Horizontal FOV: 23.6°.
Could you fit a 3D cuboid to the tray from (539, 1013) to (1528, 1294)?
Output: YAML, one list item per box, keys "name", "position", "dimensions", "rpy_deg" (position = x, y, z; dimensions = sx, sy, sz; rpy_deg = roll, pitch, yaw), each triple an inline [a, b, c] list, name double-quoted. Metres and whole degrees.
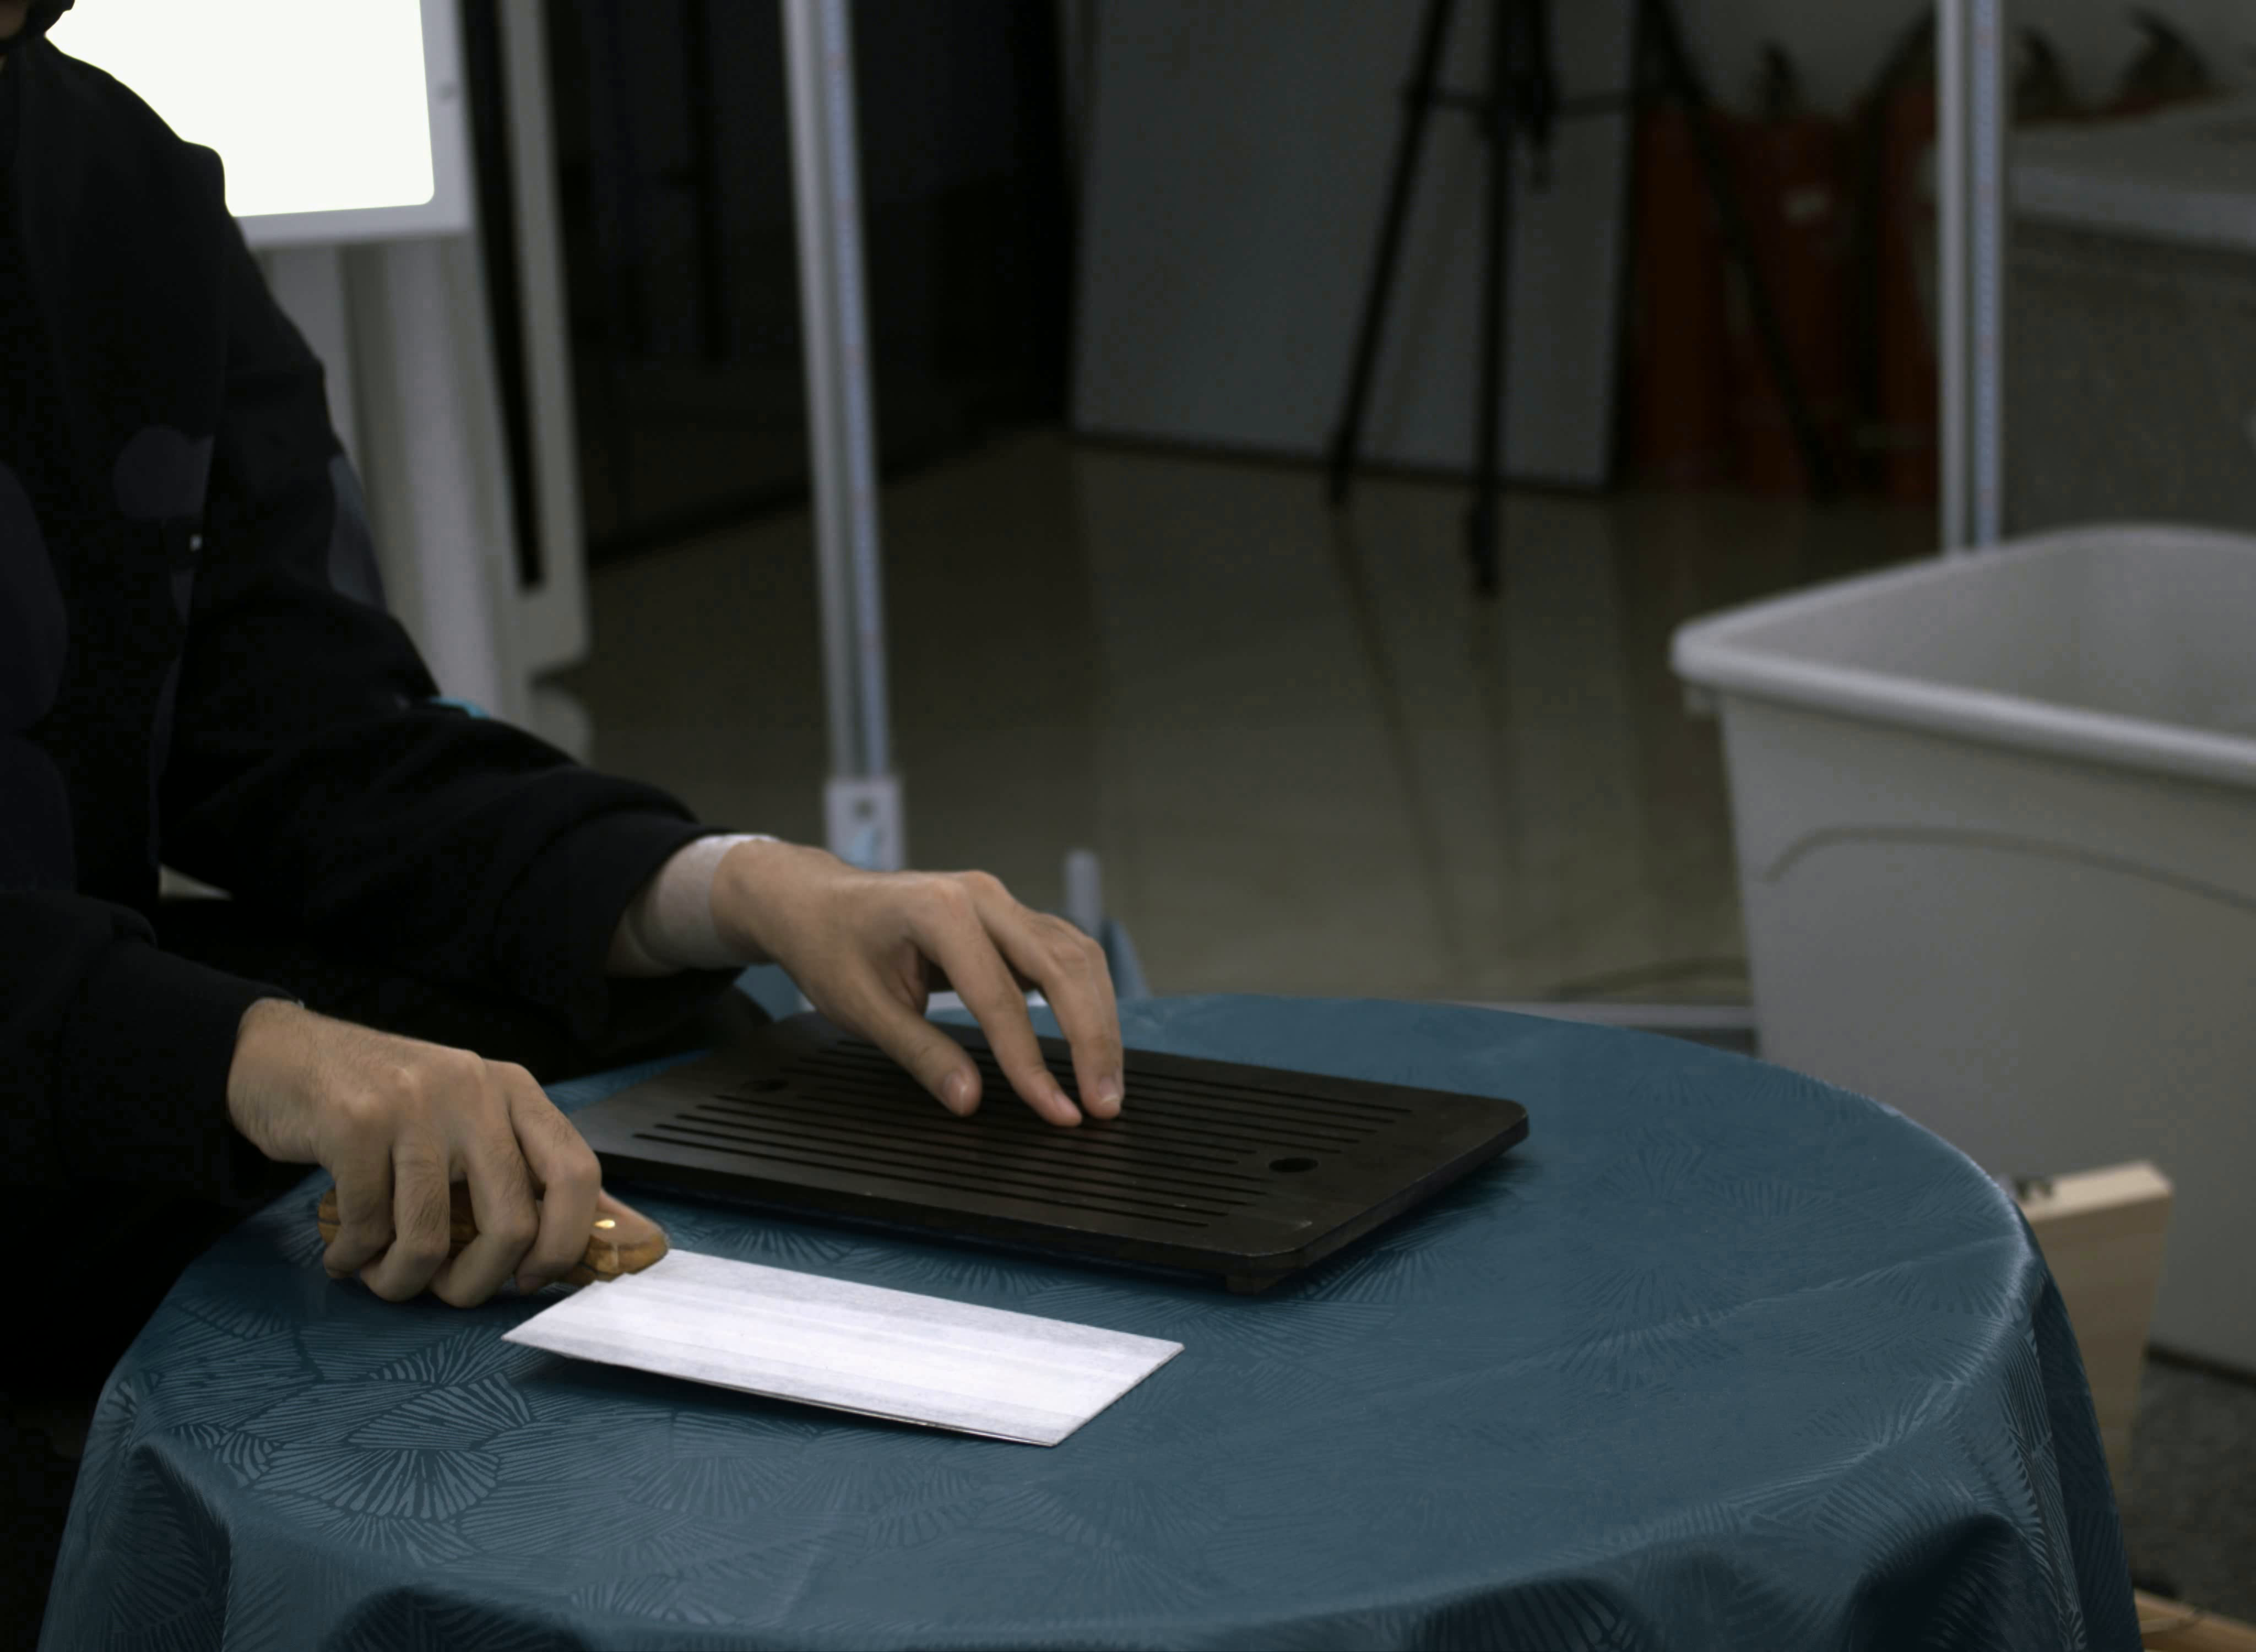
- name: "tray"
  position: [-0.033, 0.107, 1.801]
  dimensions: [0.308, 0.019, 0.167]
  rpy_deg: [6, 17, 35]

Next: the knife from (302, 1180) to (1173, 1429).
- name: "knife"
  position: [-0.135, 0.149, 1.651]
  dimensions: [0.306, 0.021, 0.091]
  rpy_deg: [8, 18, 27]
